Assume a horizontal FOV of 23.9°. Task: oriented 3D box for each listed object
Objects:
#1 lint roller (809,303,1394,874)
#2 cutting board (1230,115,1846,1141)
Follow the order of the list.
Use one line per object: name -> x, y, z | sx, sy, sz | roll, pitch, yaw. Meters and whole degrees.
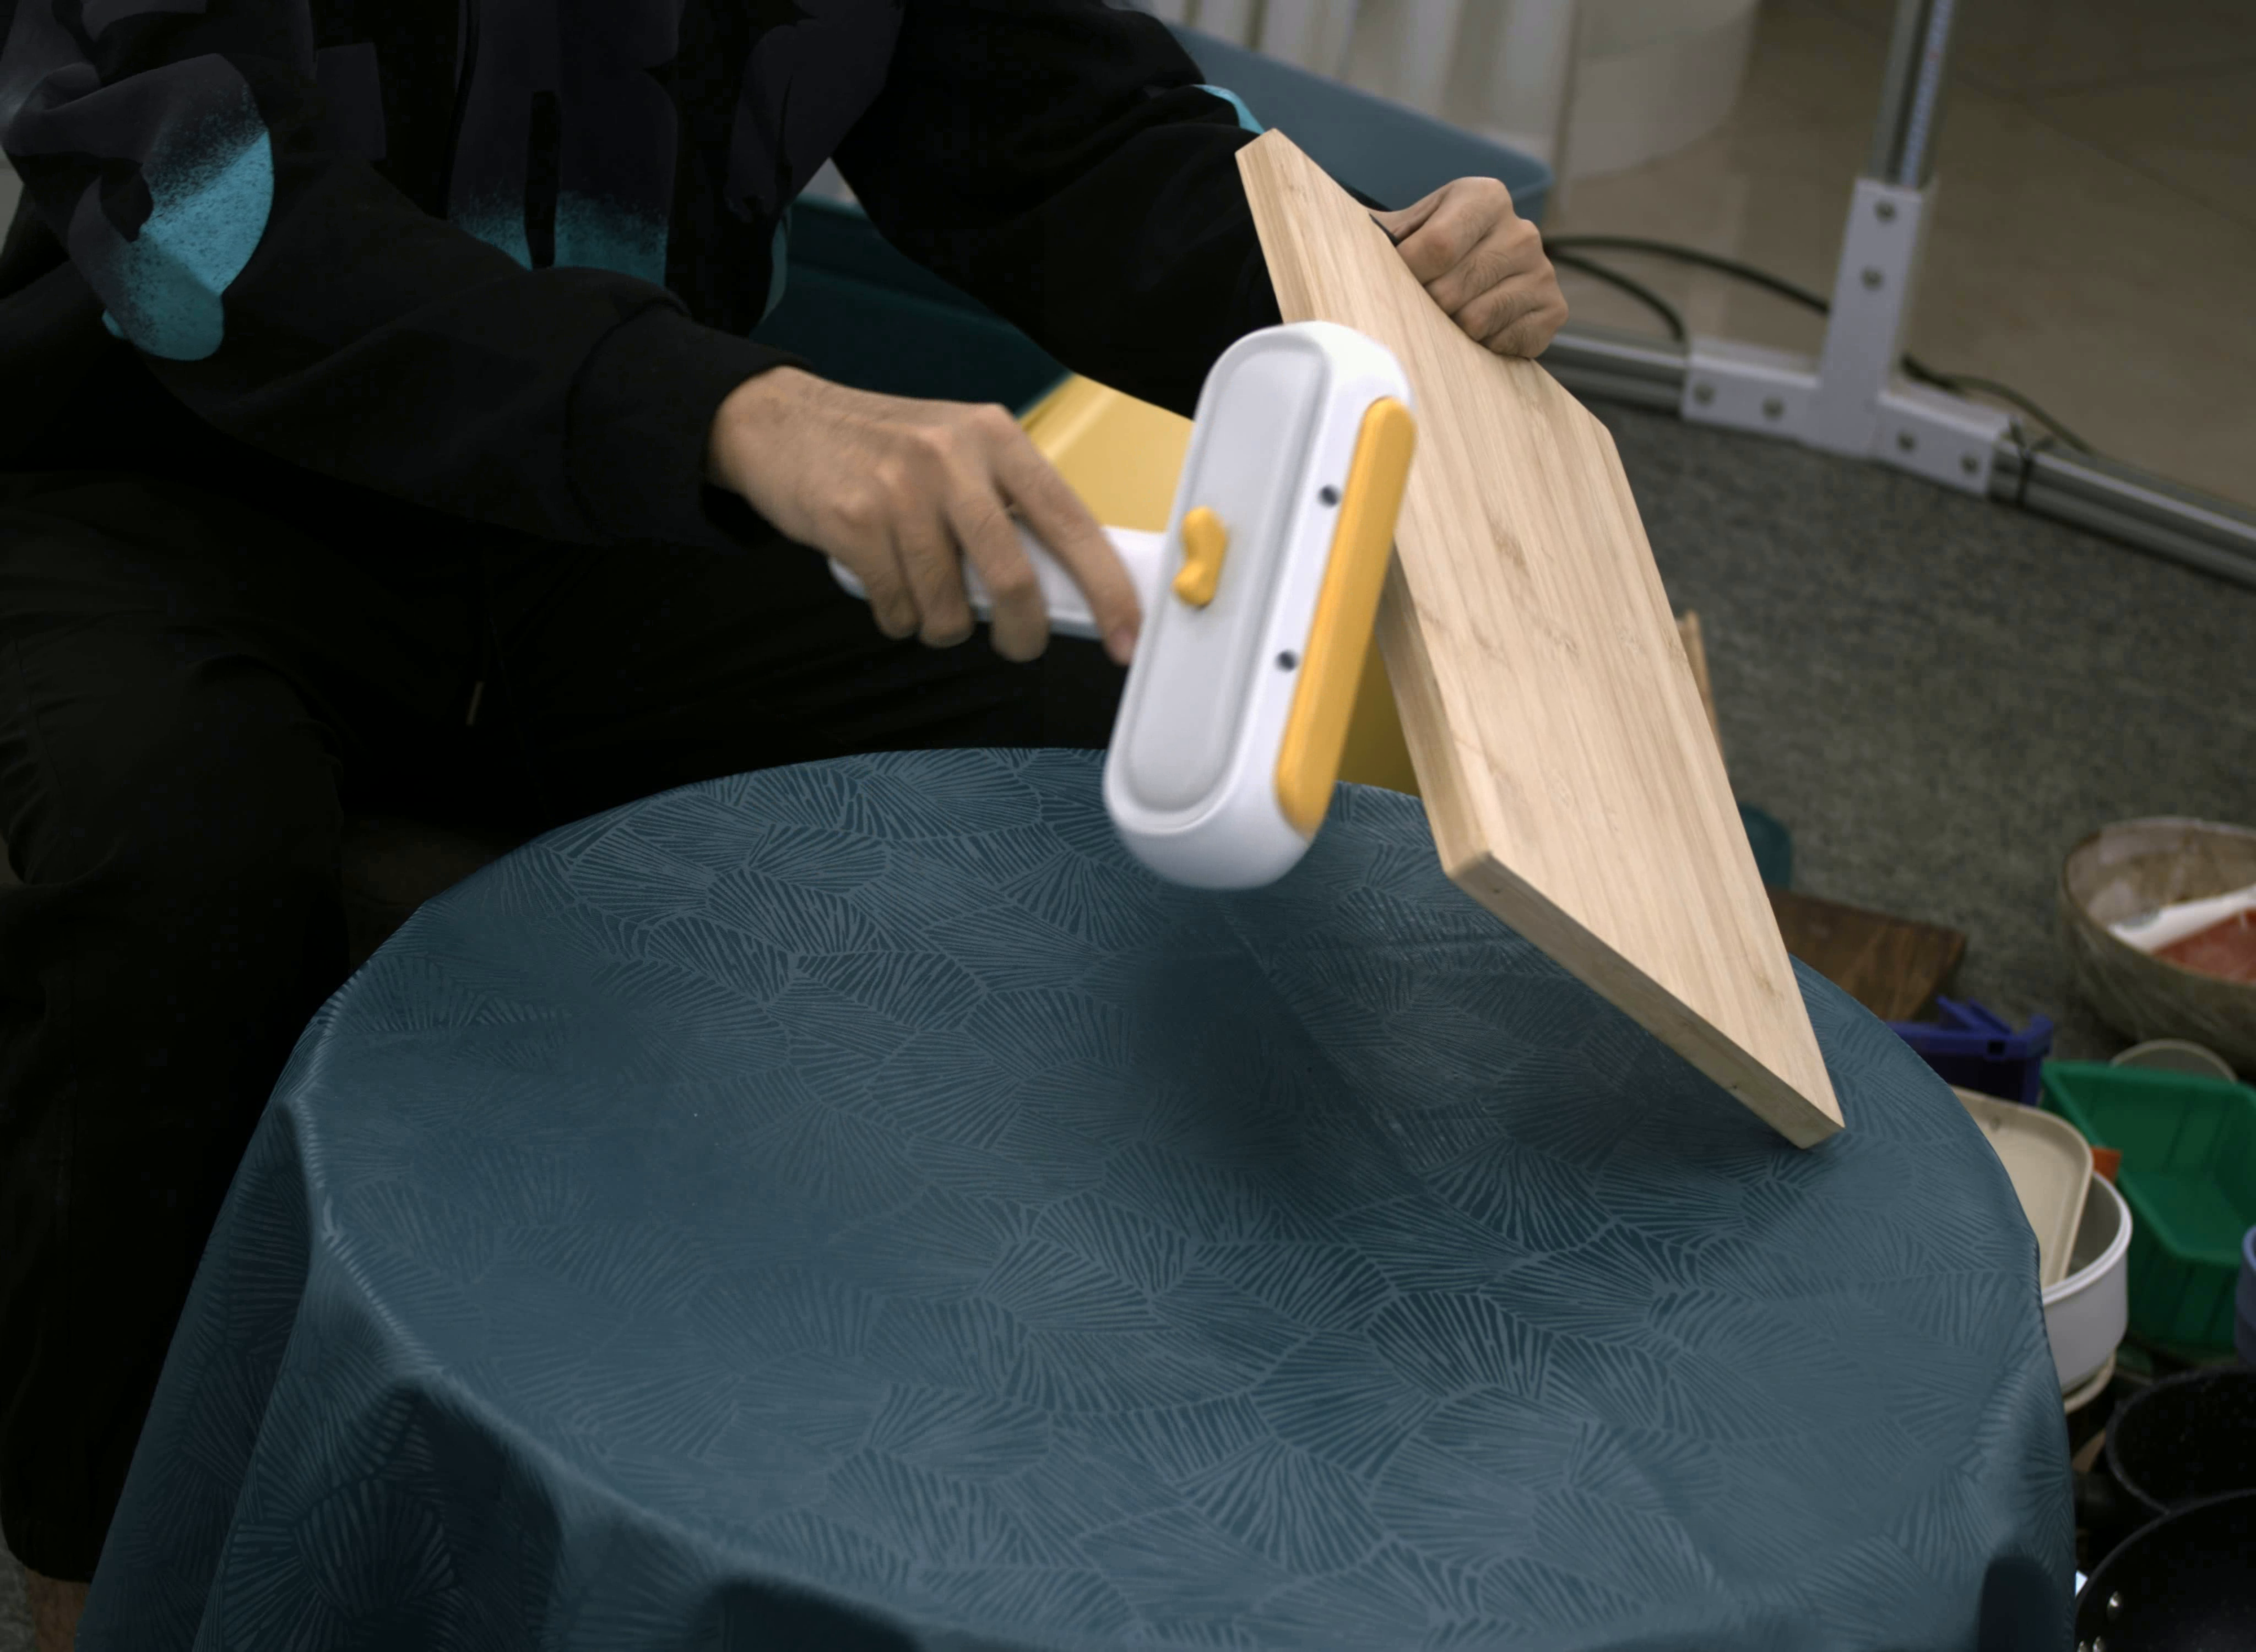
lint roller -> -0.014, -0.082, 1.764 | 0.193, 0.194, 0.073 | 1, -14, 32
cutting board -> 0.143, -0.072, 1.897 | 0.248, 0.023, 0.352 | 36, 30, -44
